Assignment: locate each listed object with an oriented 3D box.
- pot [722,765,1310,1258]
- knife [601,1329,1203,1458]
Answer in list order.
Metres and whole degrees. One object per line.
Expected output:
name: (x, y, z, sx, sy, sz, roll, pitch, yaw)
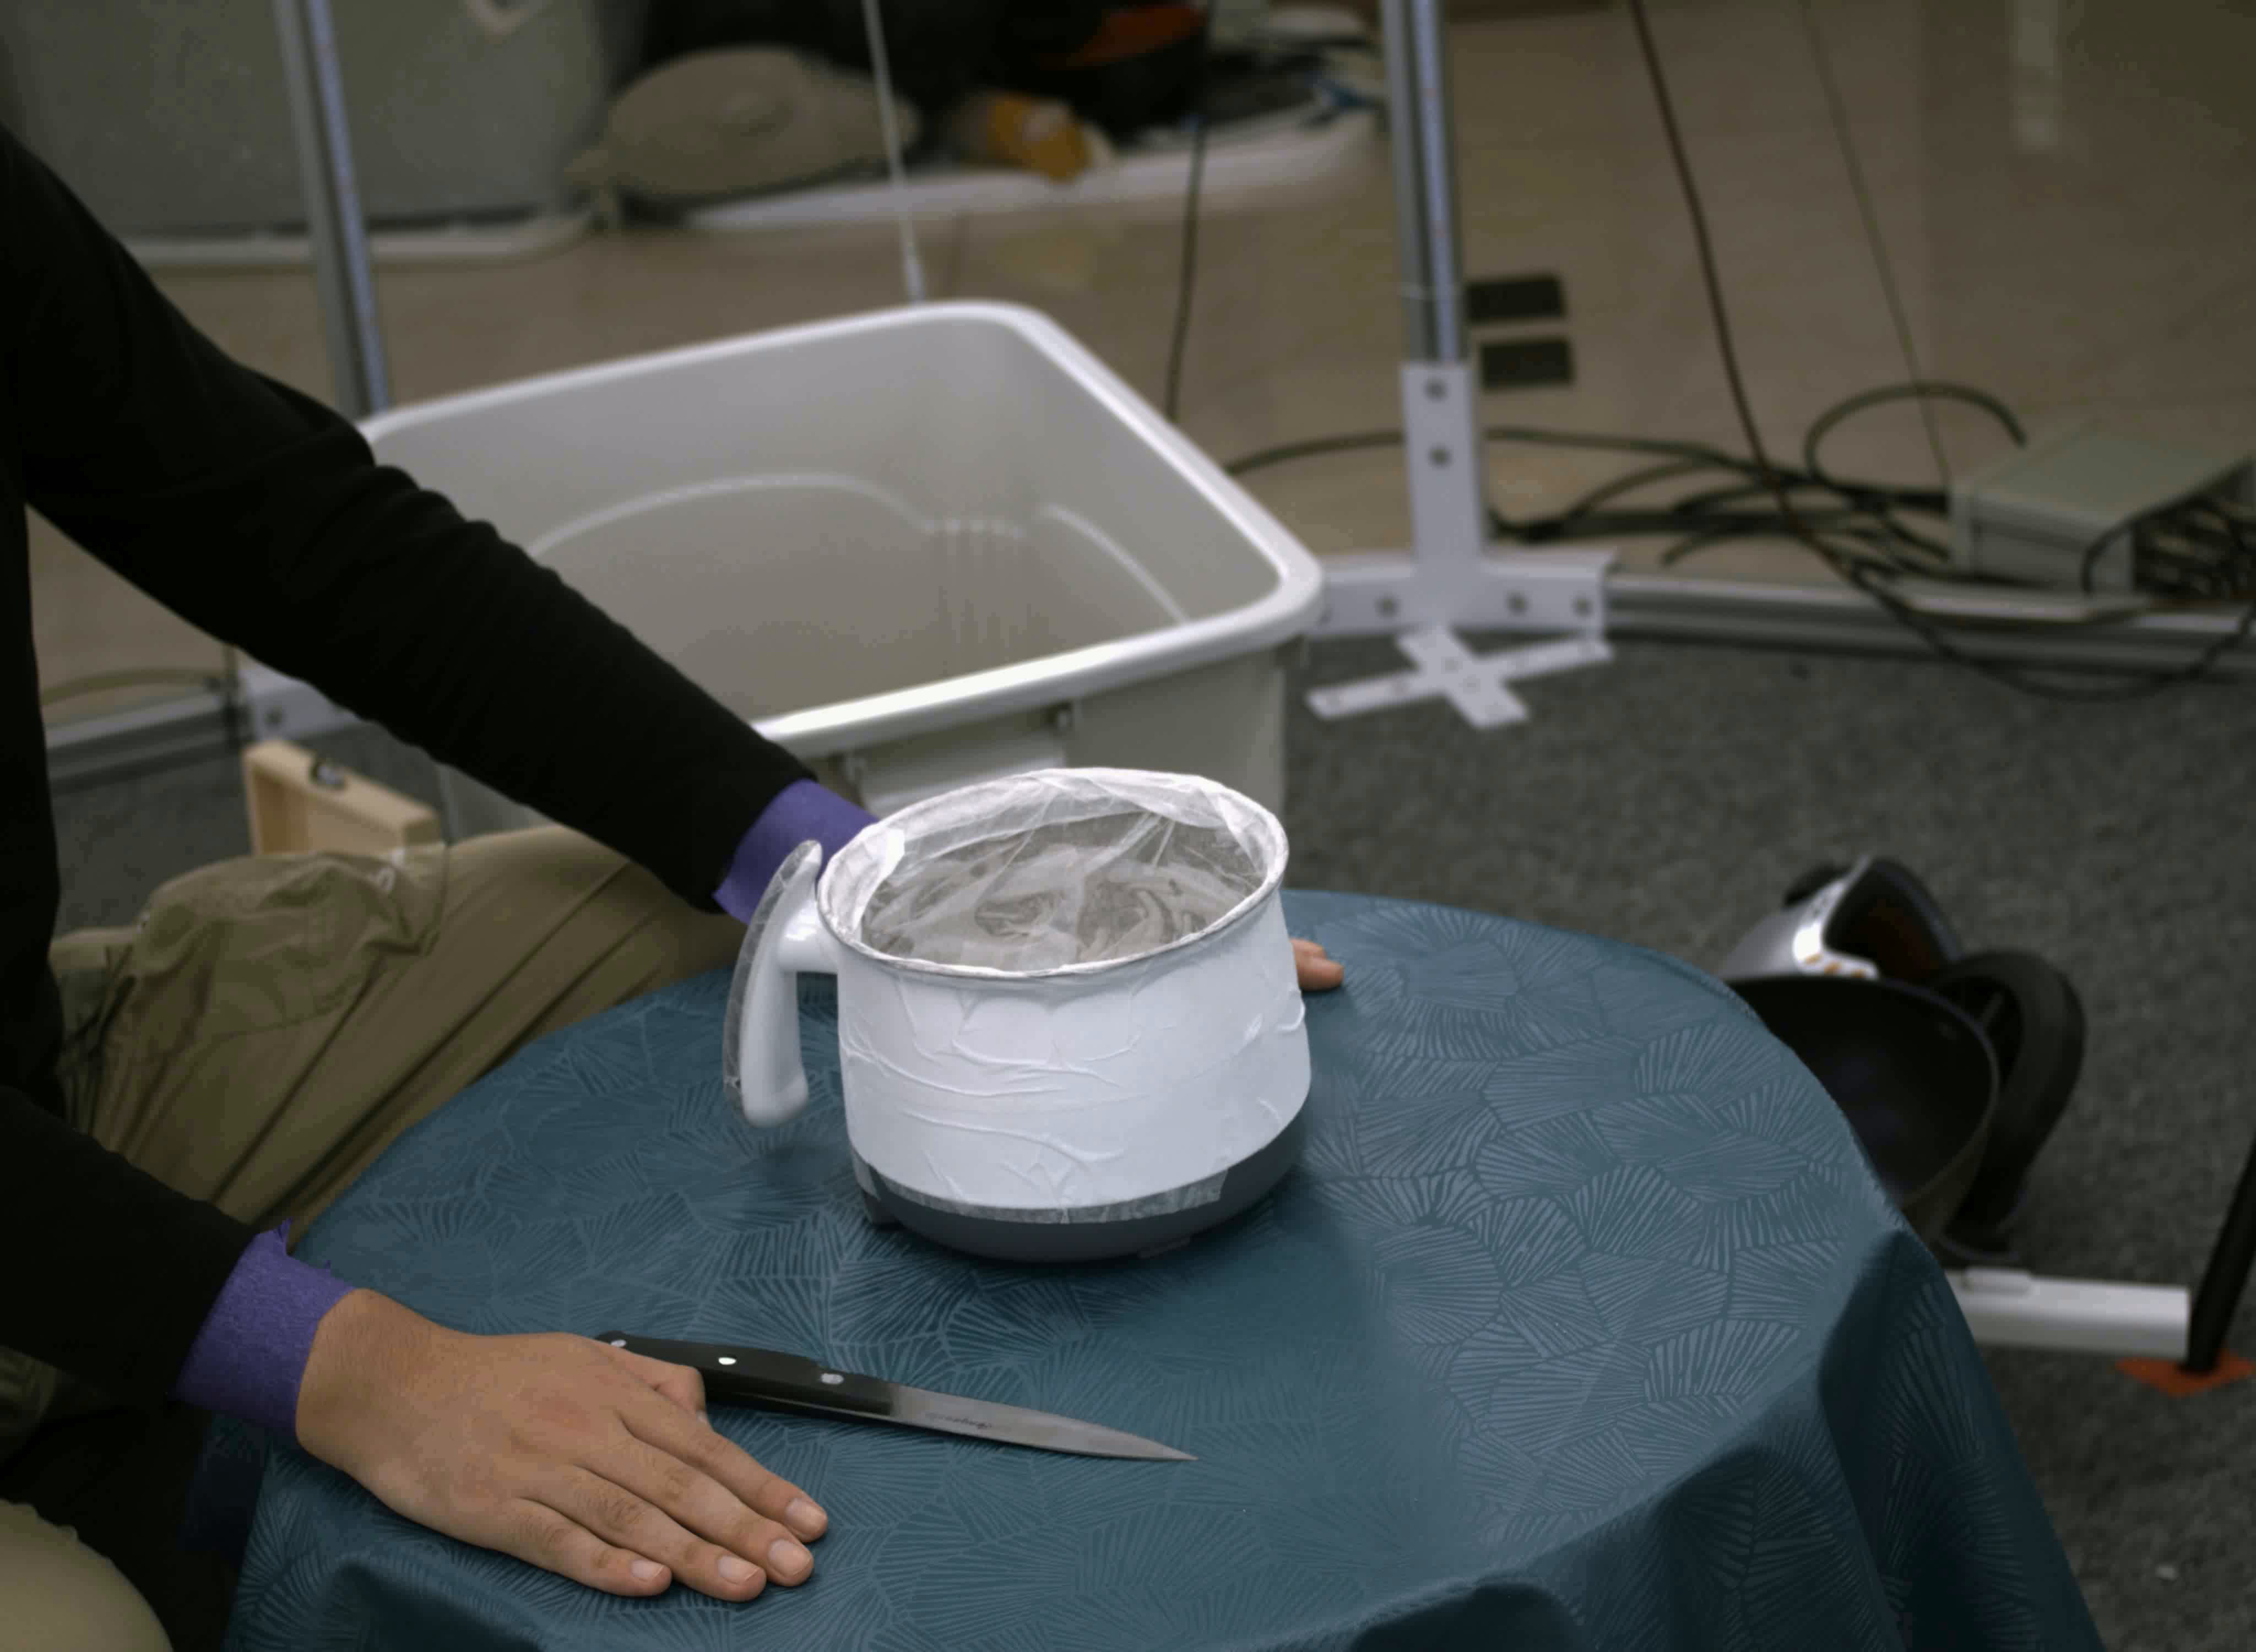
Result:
pot: (-0.047, 0.070, 2.140, 0.233, 0.139, 0.176, 4, 26, 19)
knife: (-0.084, 0.205, 2.016, 0.237, 0.016, 0.024, 8, 28, 22)
